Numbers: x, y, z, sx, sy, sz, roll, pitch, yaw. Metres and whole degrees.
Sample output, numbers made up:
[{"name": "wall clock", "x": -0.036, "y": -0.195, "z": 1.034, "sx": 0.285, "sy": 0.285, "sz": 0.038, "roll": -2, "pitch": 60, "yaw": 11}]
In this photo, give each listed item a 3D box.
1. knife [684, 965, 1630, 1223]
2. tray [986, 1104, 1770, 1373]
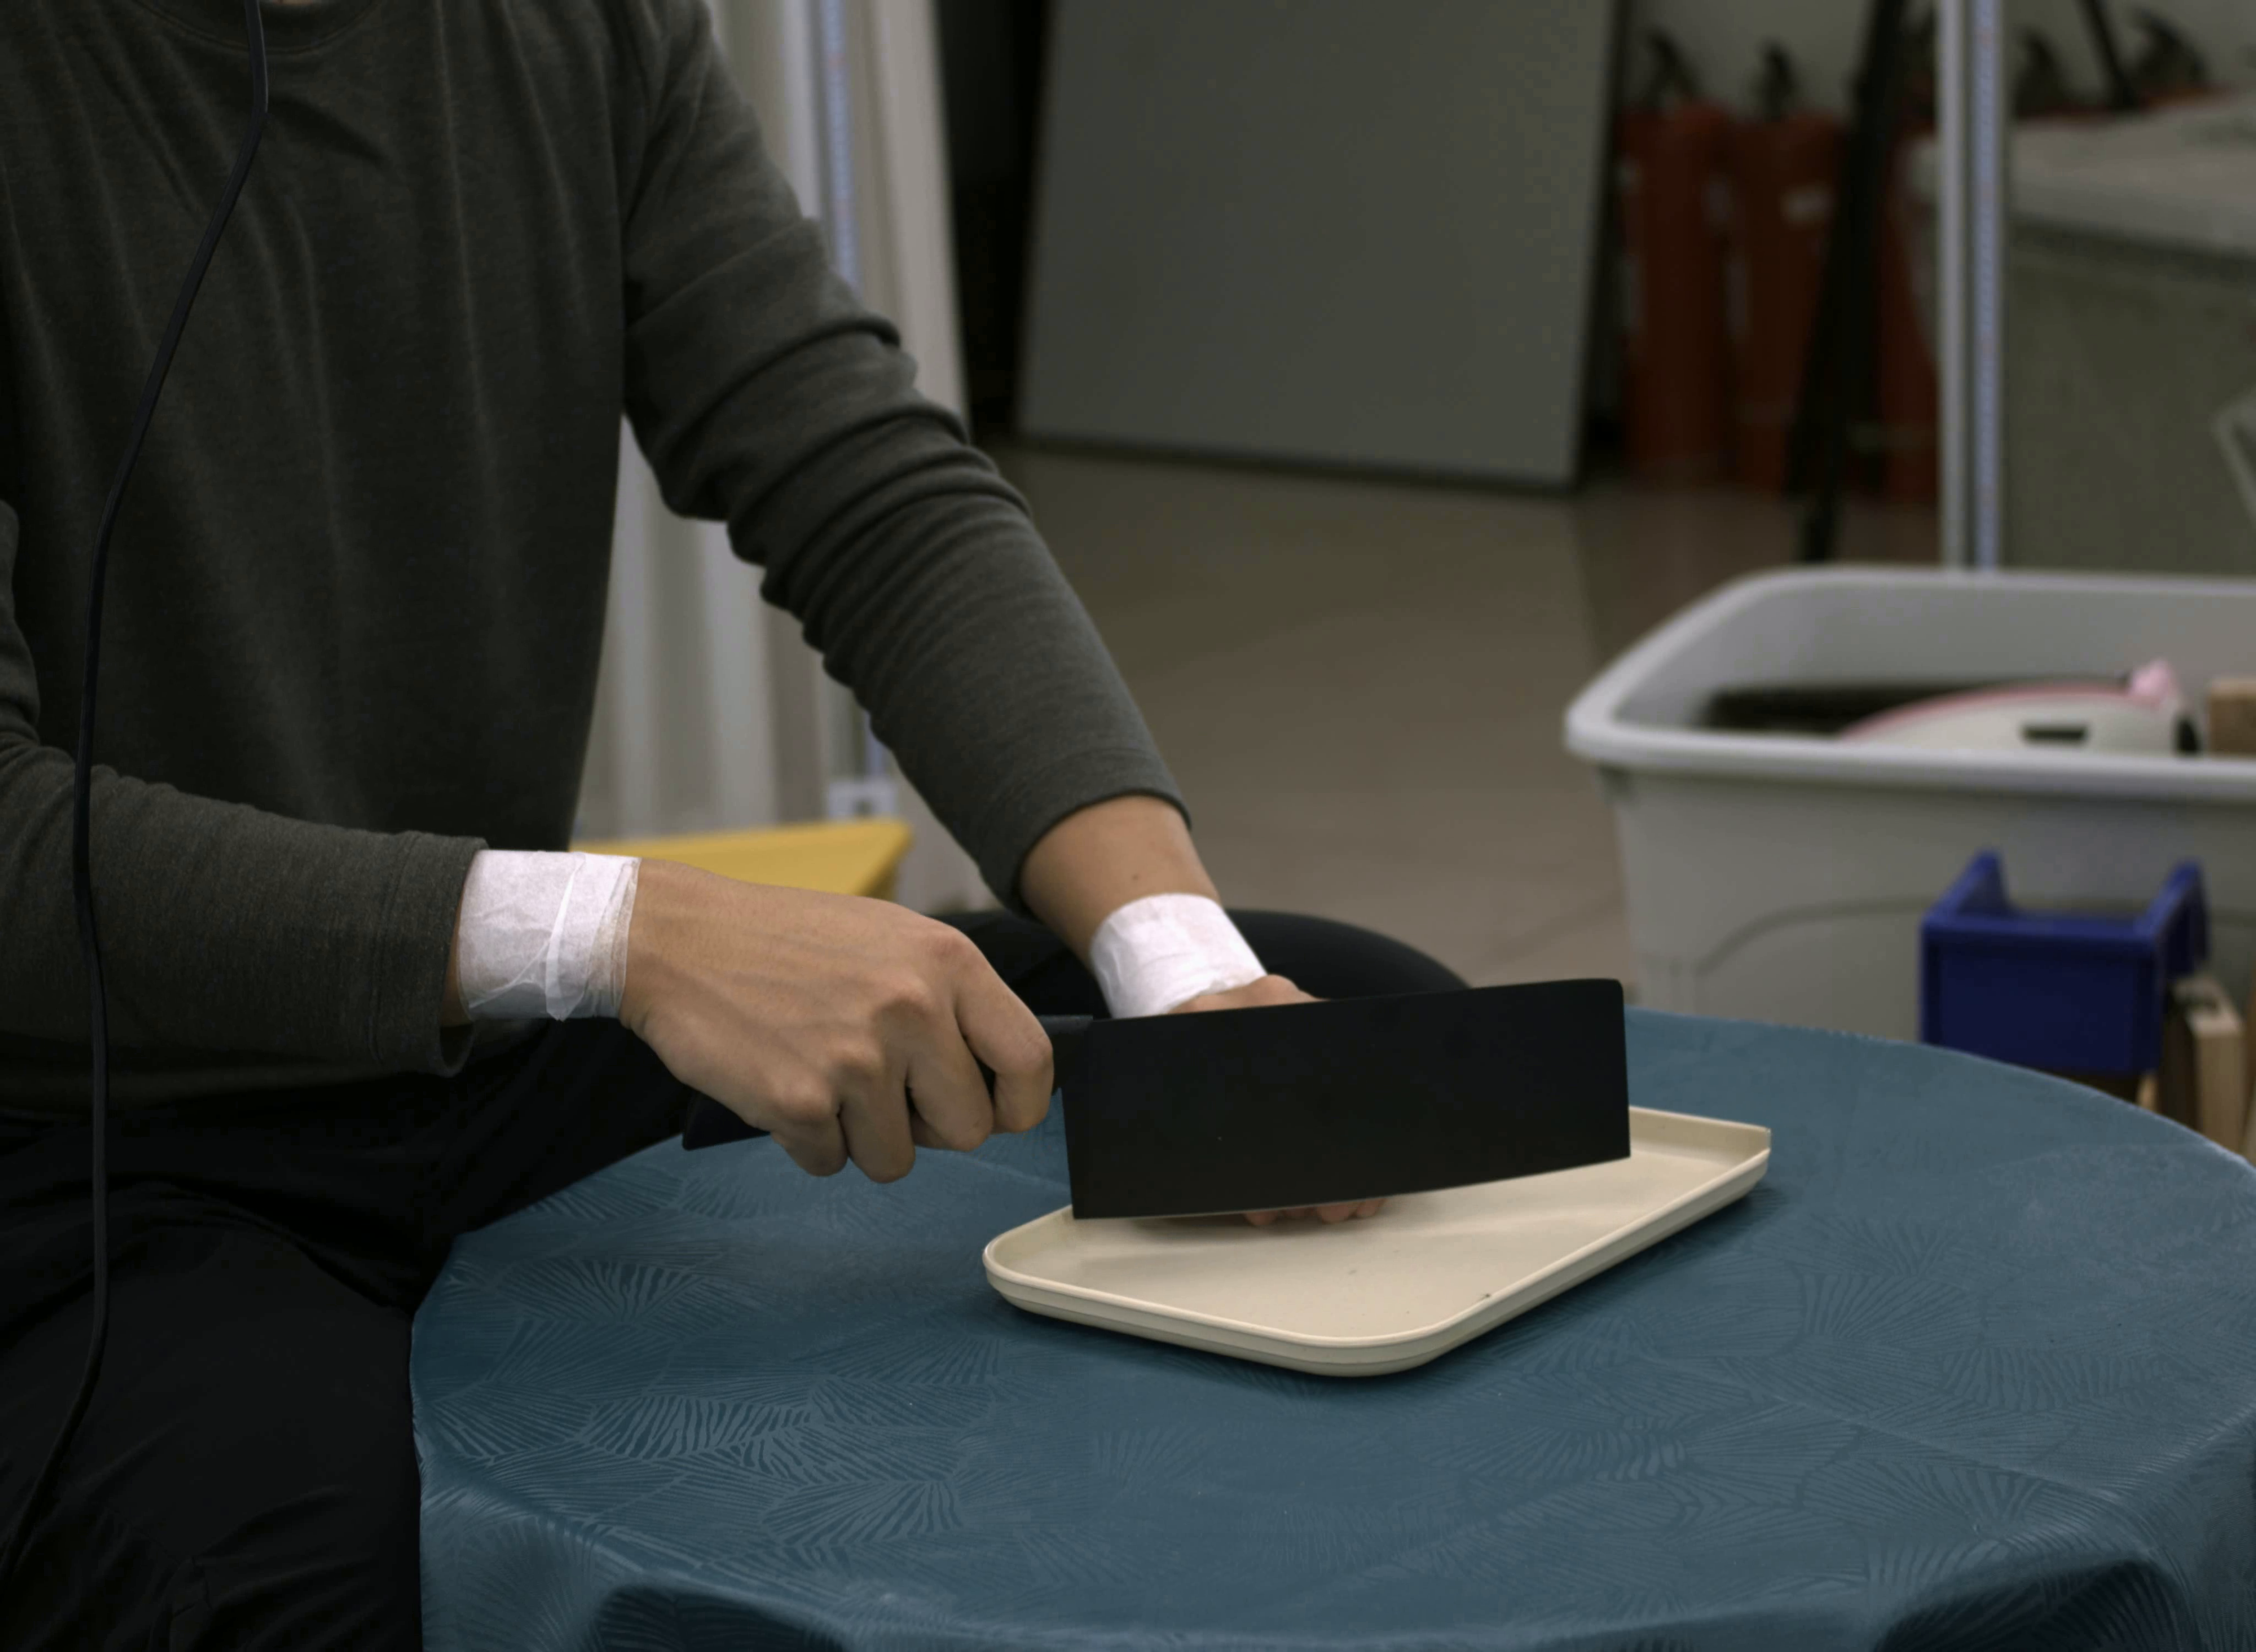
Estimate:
[{"name": "knife", "x": 0.010, "y": 0.086, "z": 1.694, "sx": 0.298, "sy": 0.082, "sz": 0.021, "roll": -1, "pitch": 9, "yaw": -1}, {"name": "tray", "x": 0.082, "y": 0.125, "z": 1.698, "sx": 0.172, "sy": 0.017, "sz": 0.235, "roll": 6, "pitch": 17, "yaw": 39}]
